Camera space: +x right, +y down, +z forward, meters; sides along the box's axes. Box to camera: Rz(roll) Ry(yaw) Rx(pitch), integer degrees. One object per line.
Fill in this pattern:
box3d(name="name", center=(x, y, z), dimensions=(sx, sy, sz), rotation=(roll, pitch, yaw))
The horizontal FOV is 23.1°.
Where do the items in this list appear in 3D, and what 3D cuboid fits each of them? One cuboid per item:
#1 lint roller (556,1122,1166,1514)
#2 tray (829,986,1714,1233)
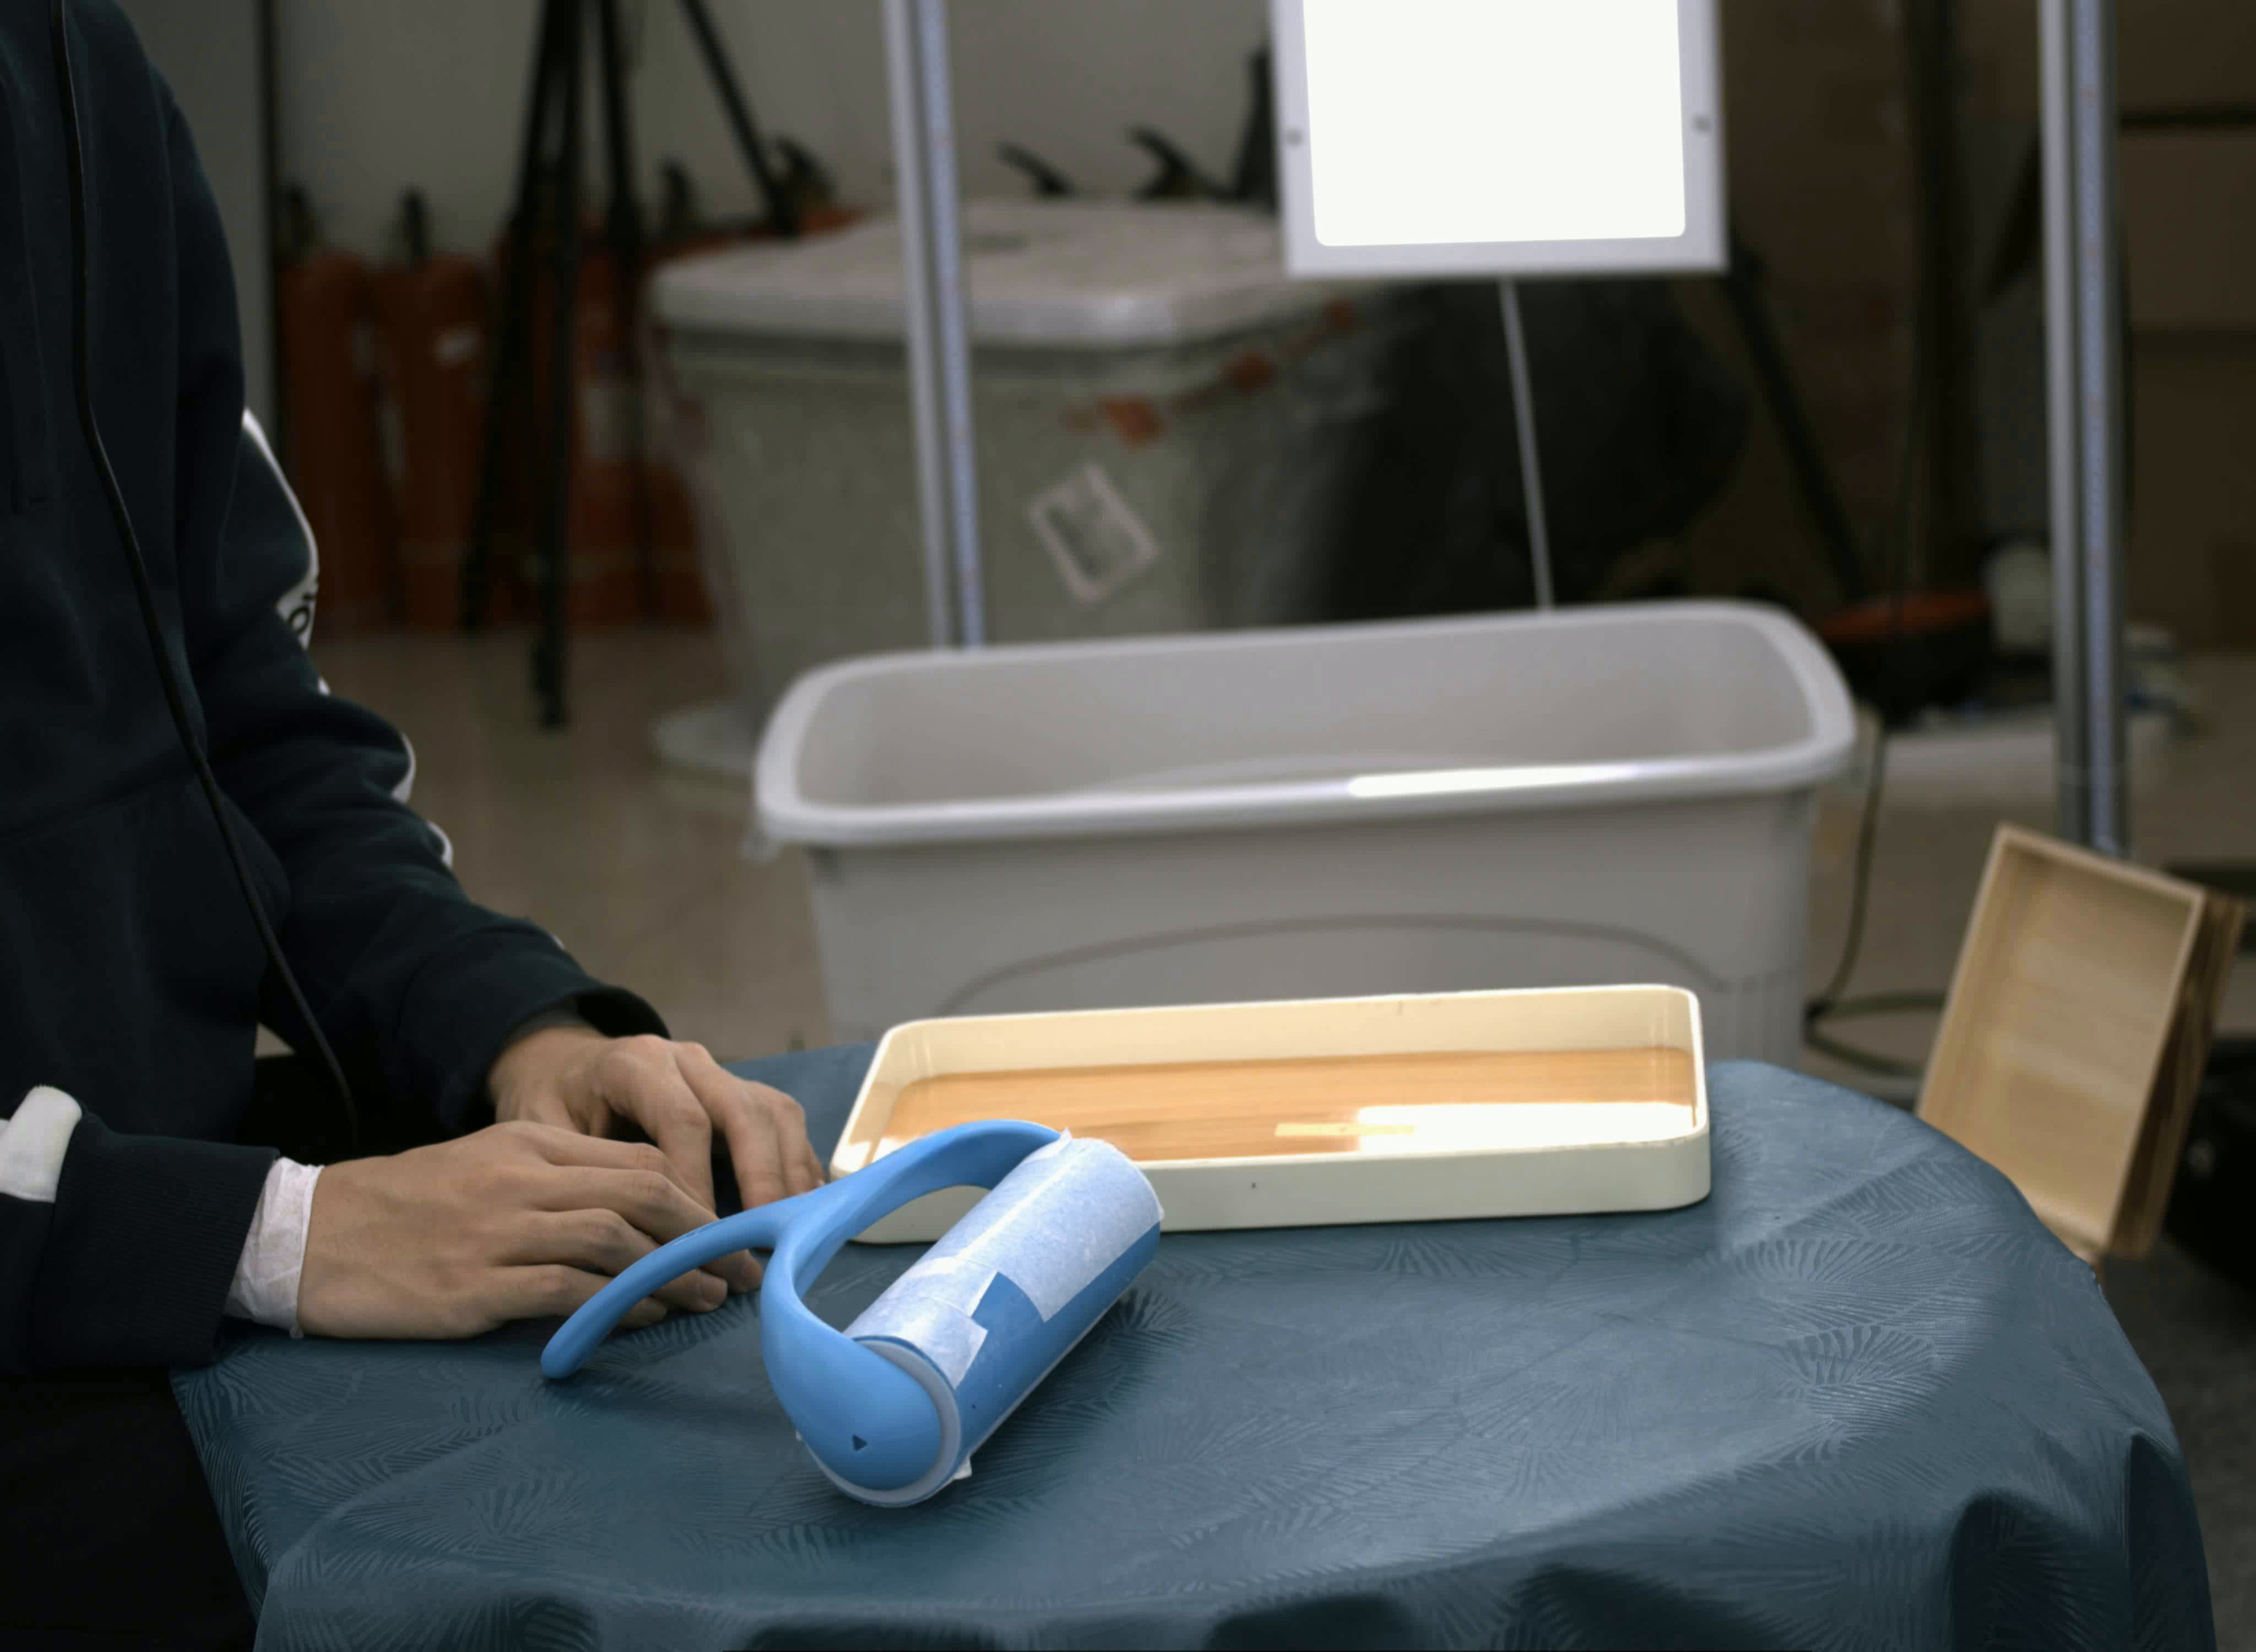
box3d(name="lint roller", center=(-0.097, 0.150, 1.717), dimensions=(0.182, 0.068, 0.226), rotation=(0, 17, 15))
box3d(name="tray", center=(0.054, 0.100, 1.926), dimensions=(0.301, 0.027, 0.190), rotation=(-3, 14, 8))
